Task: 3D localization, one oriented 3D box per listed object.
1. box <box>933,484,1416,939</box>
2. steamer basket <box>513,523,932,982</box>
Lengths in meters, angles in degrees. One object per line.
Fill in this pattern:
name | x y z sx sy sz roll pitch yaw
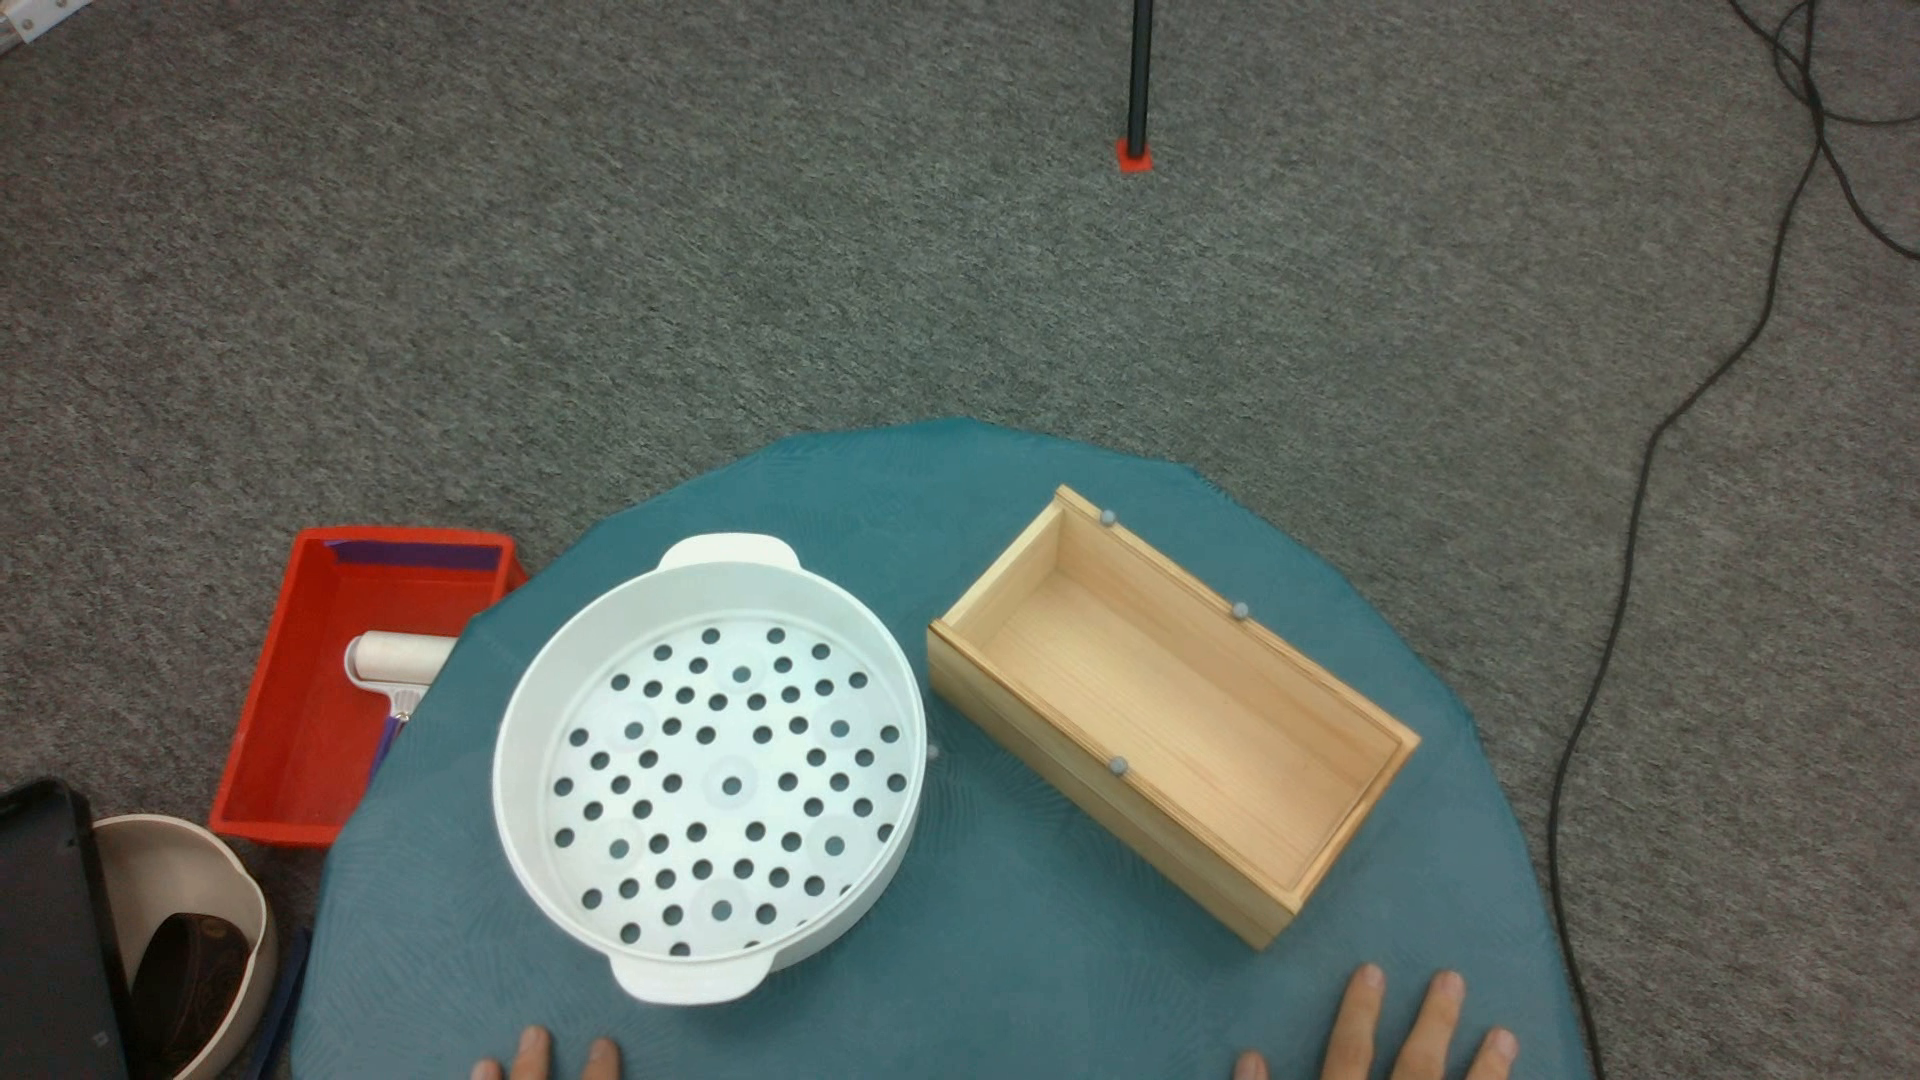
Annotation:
box | 0.101 0.084 0.691 0.211 0.080 0.108 36 68 18
steamer basket | -0.114 0.106 0.688 0.202 0.069 0.231 0 62 1
